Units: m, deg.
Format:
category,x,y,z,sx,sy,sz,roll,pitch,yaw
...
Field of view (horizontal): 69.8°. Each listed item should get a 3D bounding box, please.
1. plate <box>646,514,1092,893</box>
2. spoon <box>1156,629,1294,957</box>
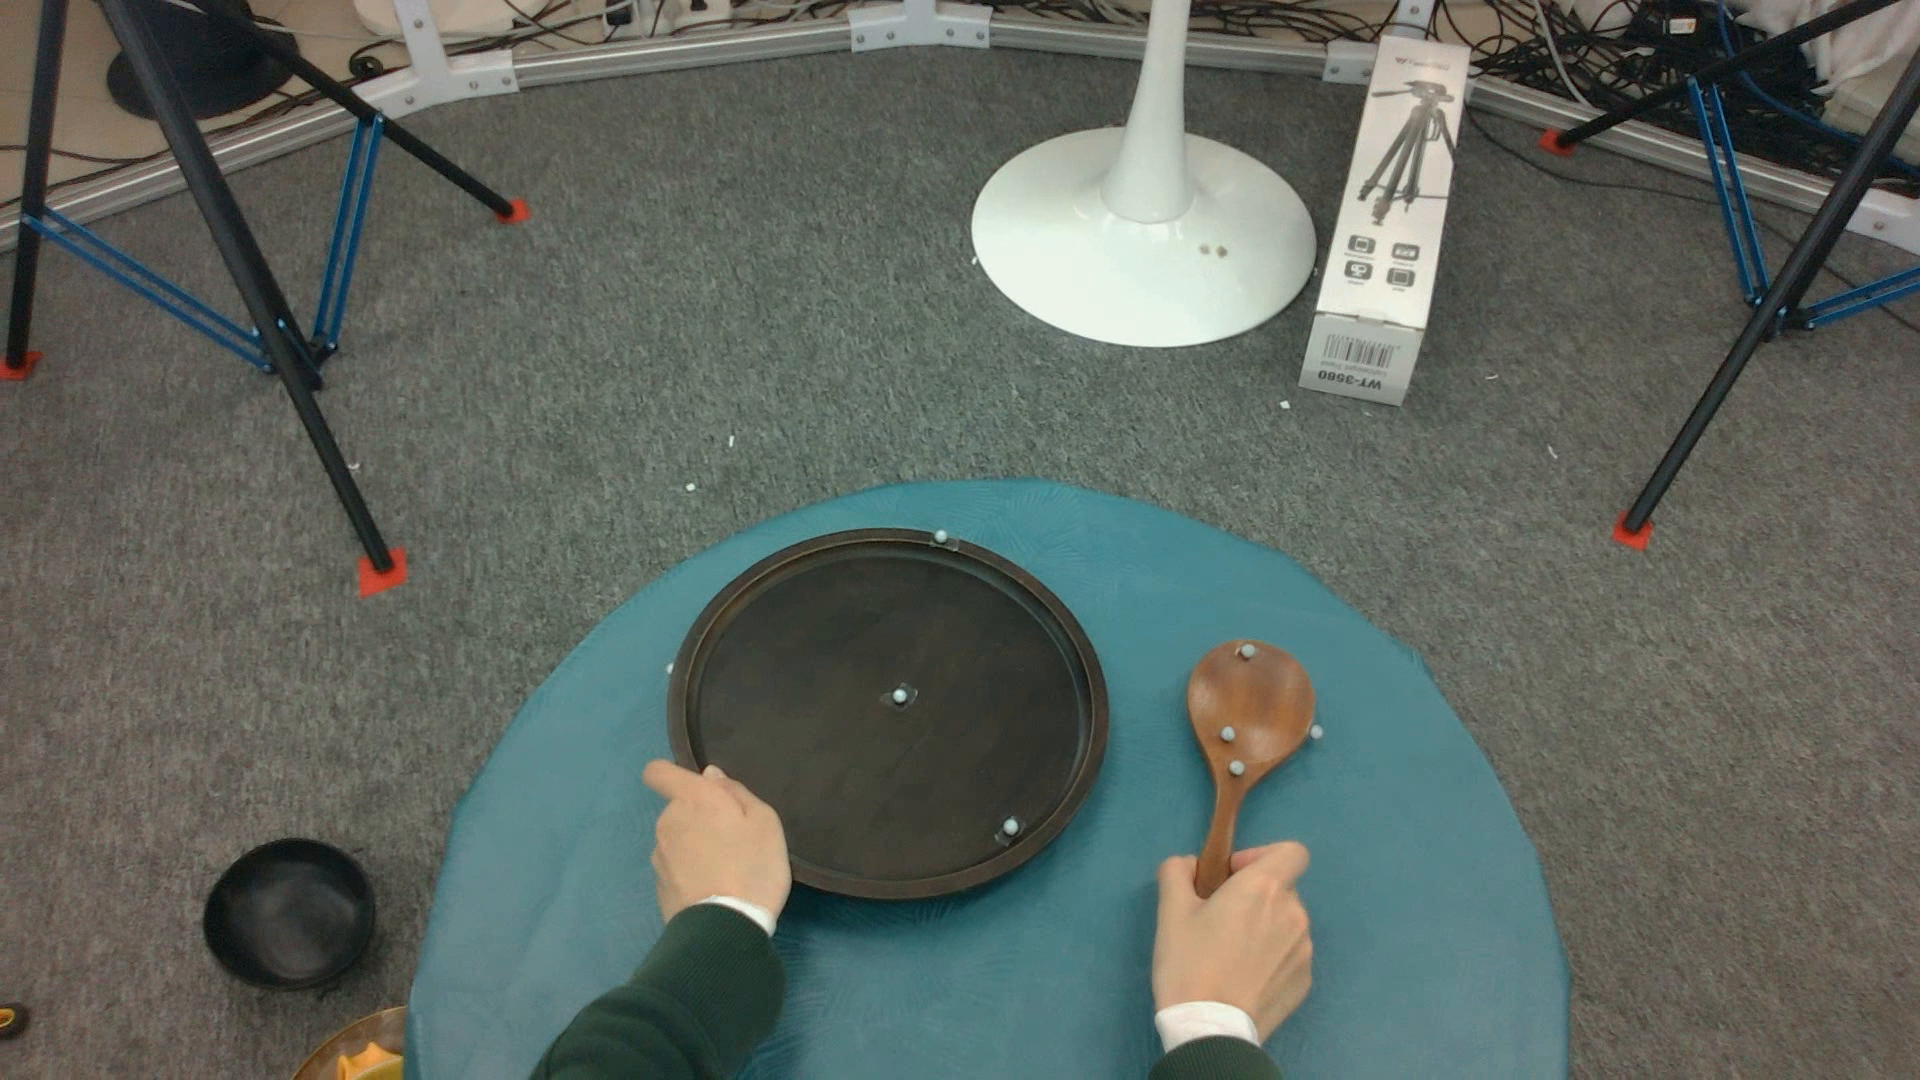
category,x,y,z,sx,sy,sz,roll,pitch,yaw
plate,-0.051,0.086,0.792,0.255,0.029,0.256,3,49,-3
spoon,0.140,0.134,0.766,0.075,0.017,0.217,15,48,9
